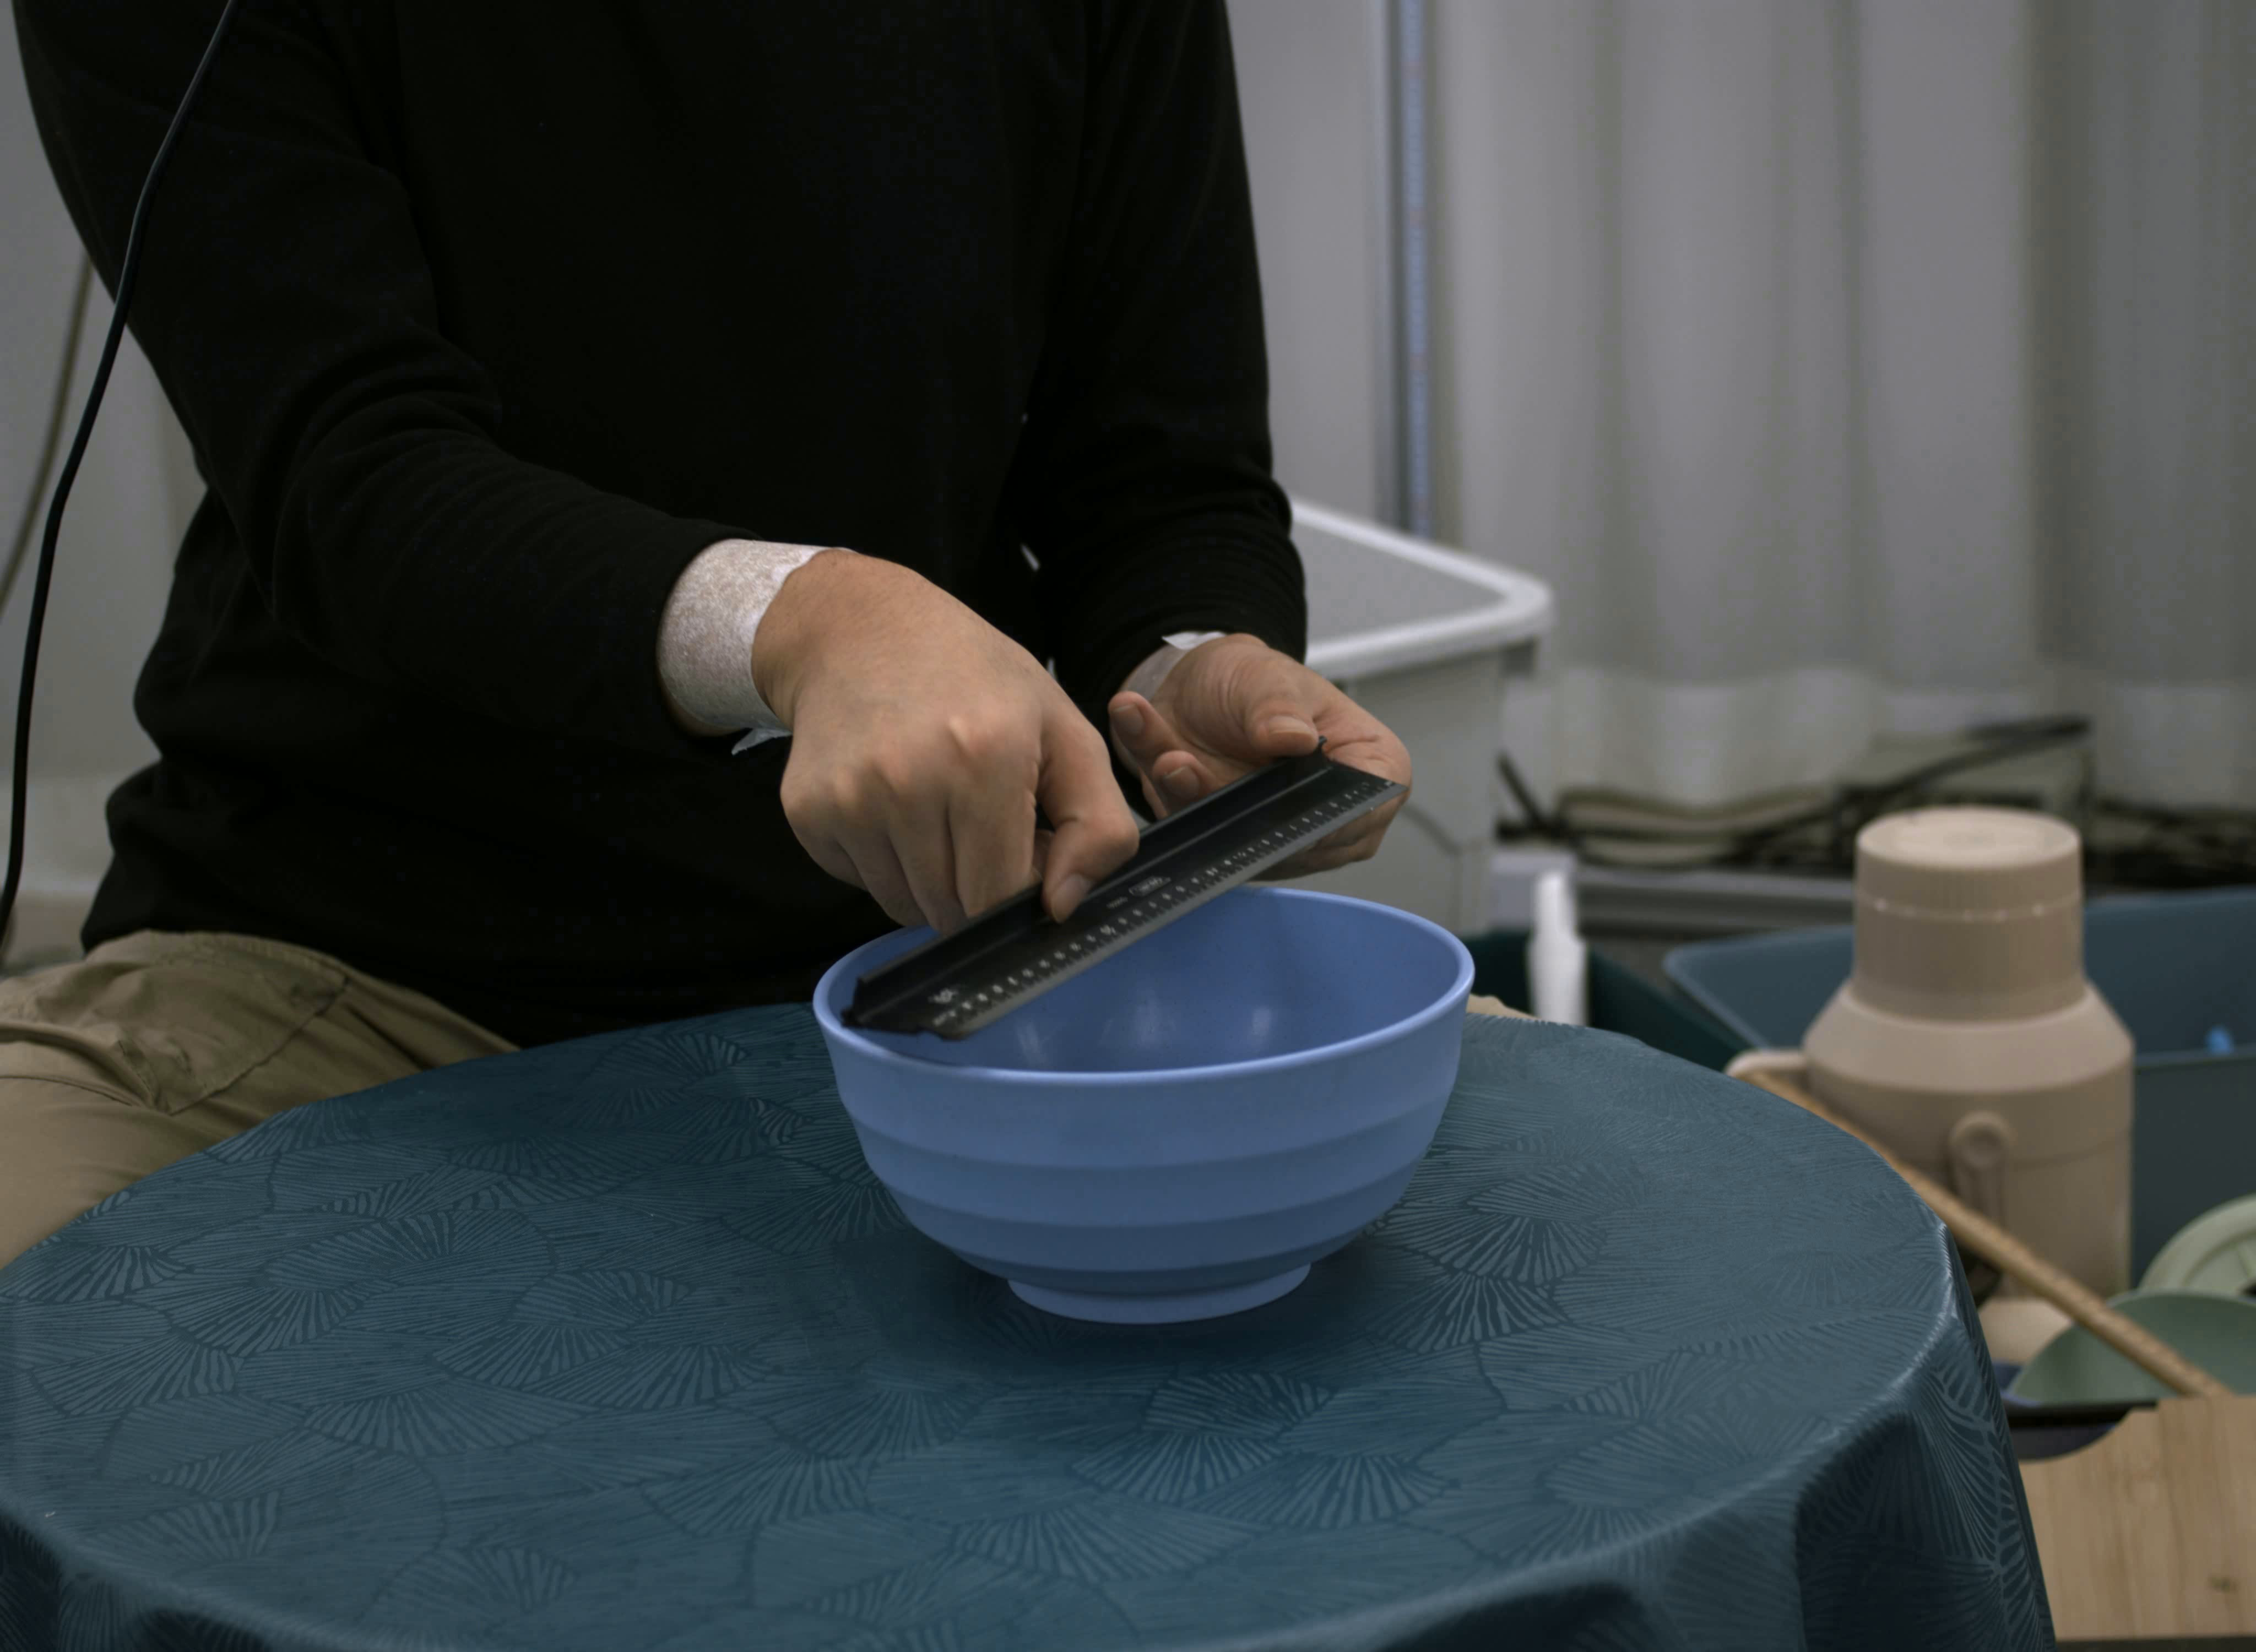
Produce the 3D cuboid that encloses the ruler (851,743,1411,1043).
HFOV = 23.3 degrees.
[{"bbox_3d":[0.007,0.017,1.667,0.039,0.017,0.313,10,18,25],"label":"ruler"}]

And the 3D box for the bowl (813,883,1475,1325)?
[{"bbox_3d":[0.006,0.088,1.627,0.196,0.095,0.198,-2,15,0],"label":"bowl"}]
